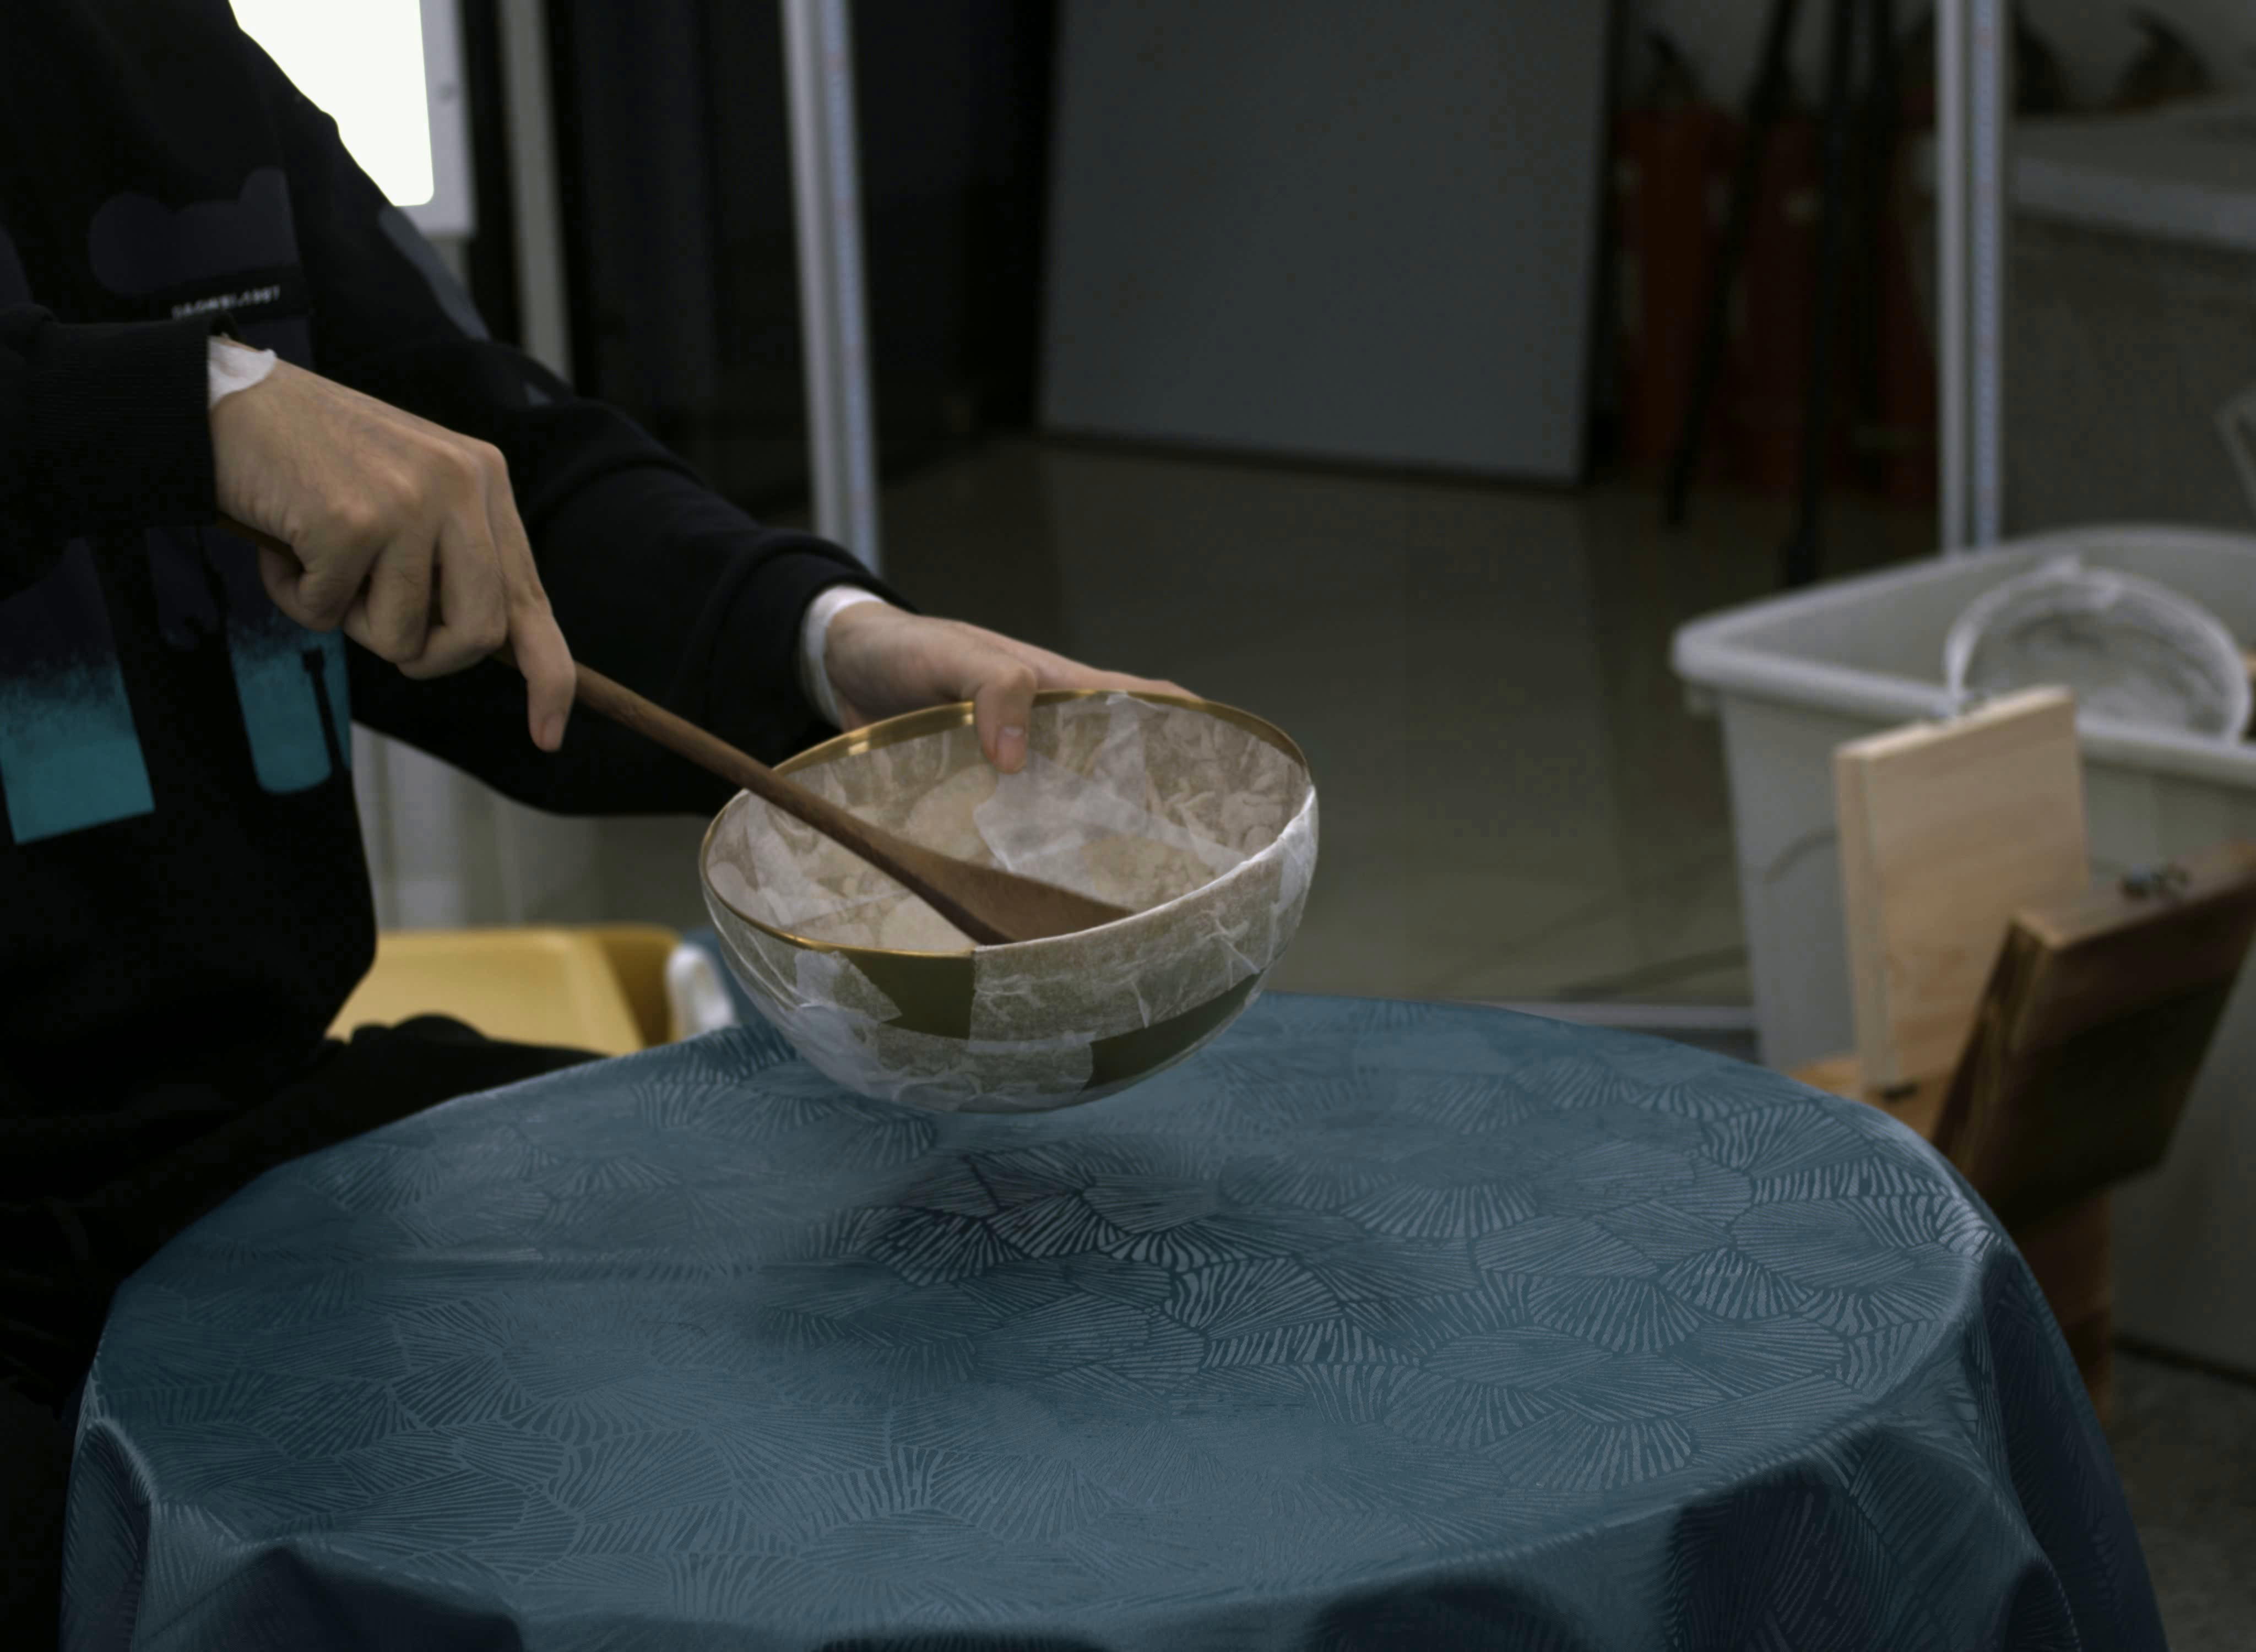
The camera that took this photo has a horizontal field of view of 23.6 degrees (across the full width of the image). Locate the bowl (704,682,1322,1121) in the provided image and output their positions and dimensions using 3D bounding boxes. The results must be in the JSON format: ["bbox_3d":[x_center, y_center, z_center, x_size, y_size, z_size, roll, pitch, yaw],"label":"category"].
[{"bbox_3d":[-0.032,0.034,1.736,0.212,0.095,0.215,-10,22,3],"label":"bowl"}]

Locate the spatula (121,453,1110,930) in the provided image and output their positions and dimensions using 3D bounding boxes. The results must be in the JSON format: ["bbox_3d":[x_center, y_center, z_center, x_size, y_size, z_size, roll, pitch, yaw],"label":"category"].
[{"bbox_3d":[-0.145,-0.033,1.716,0.383,0.016,0.096,27,13,2],"label":"spatula"}]
